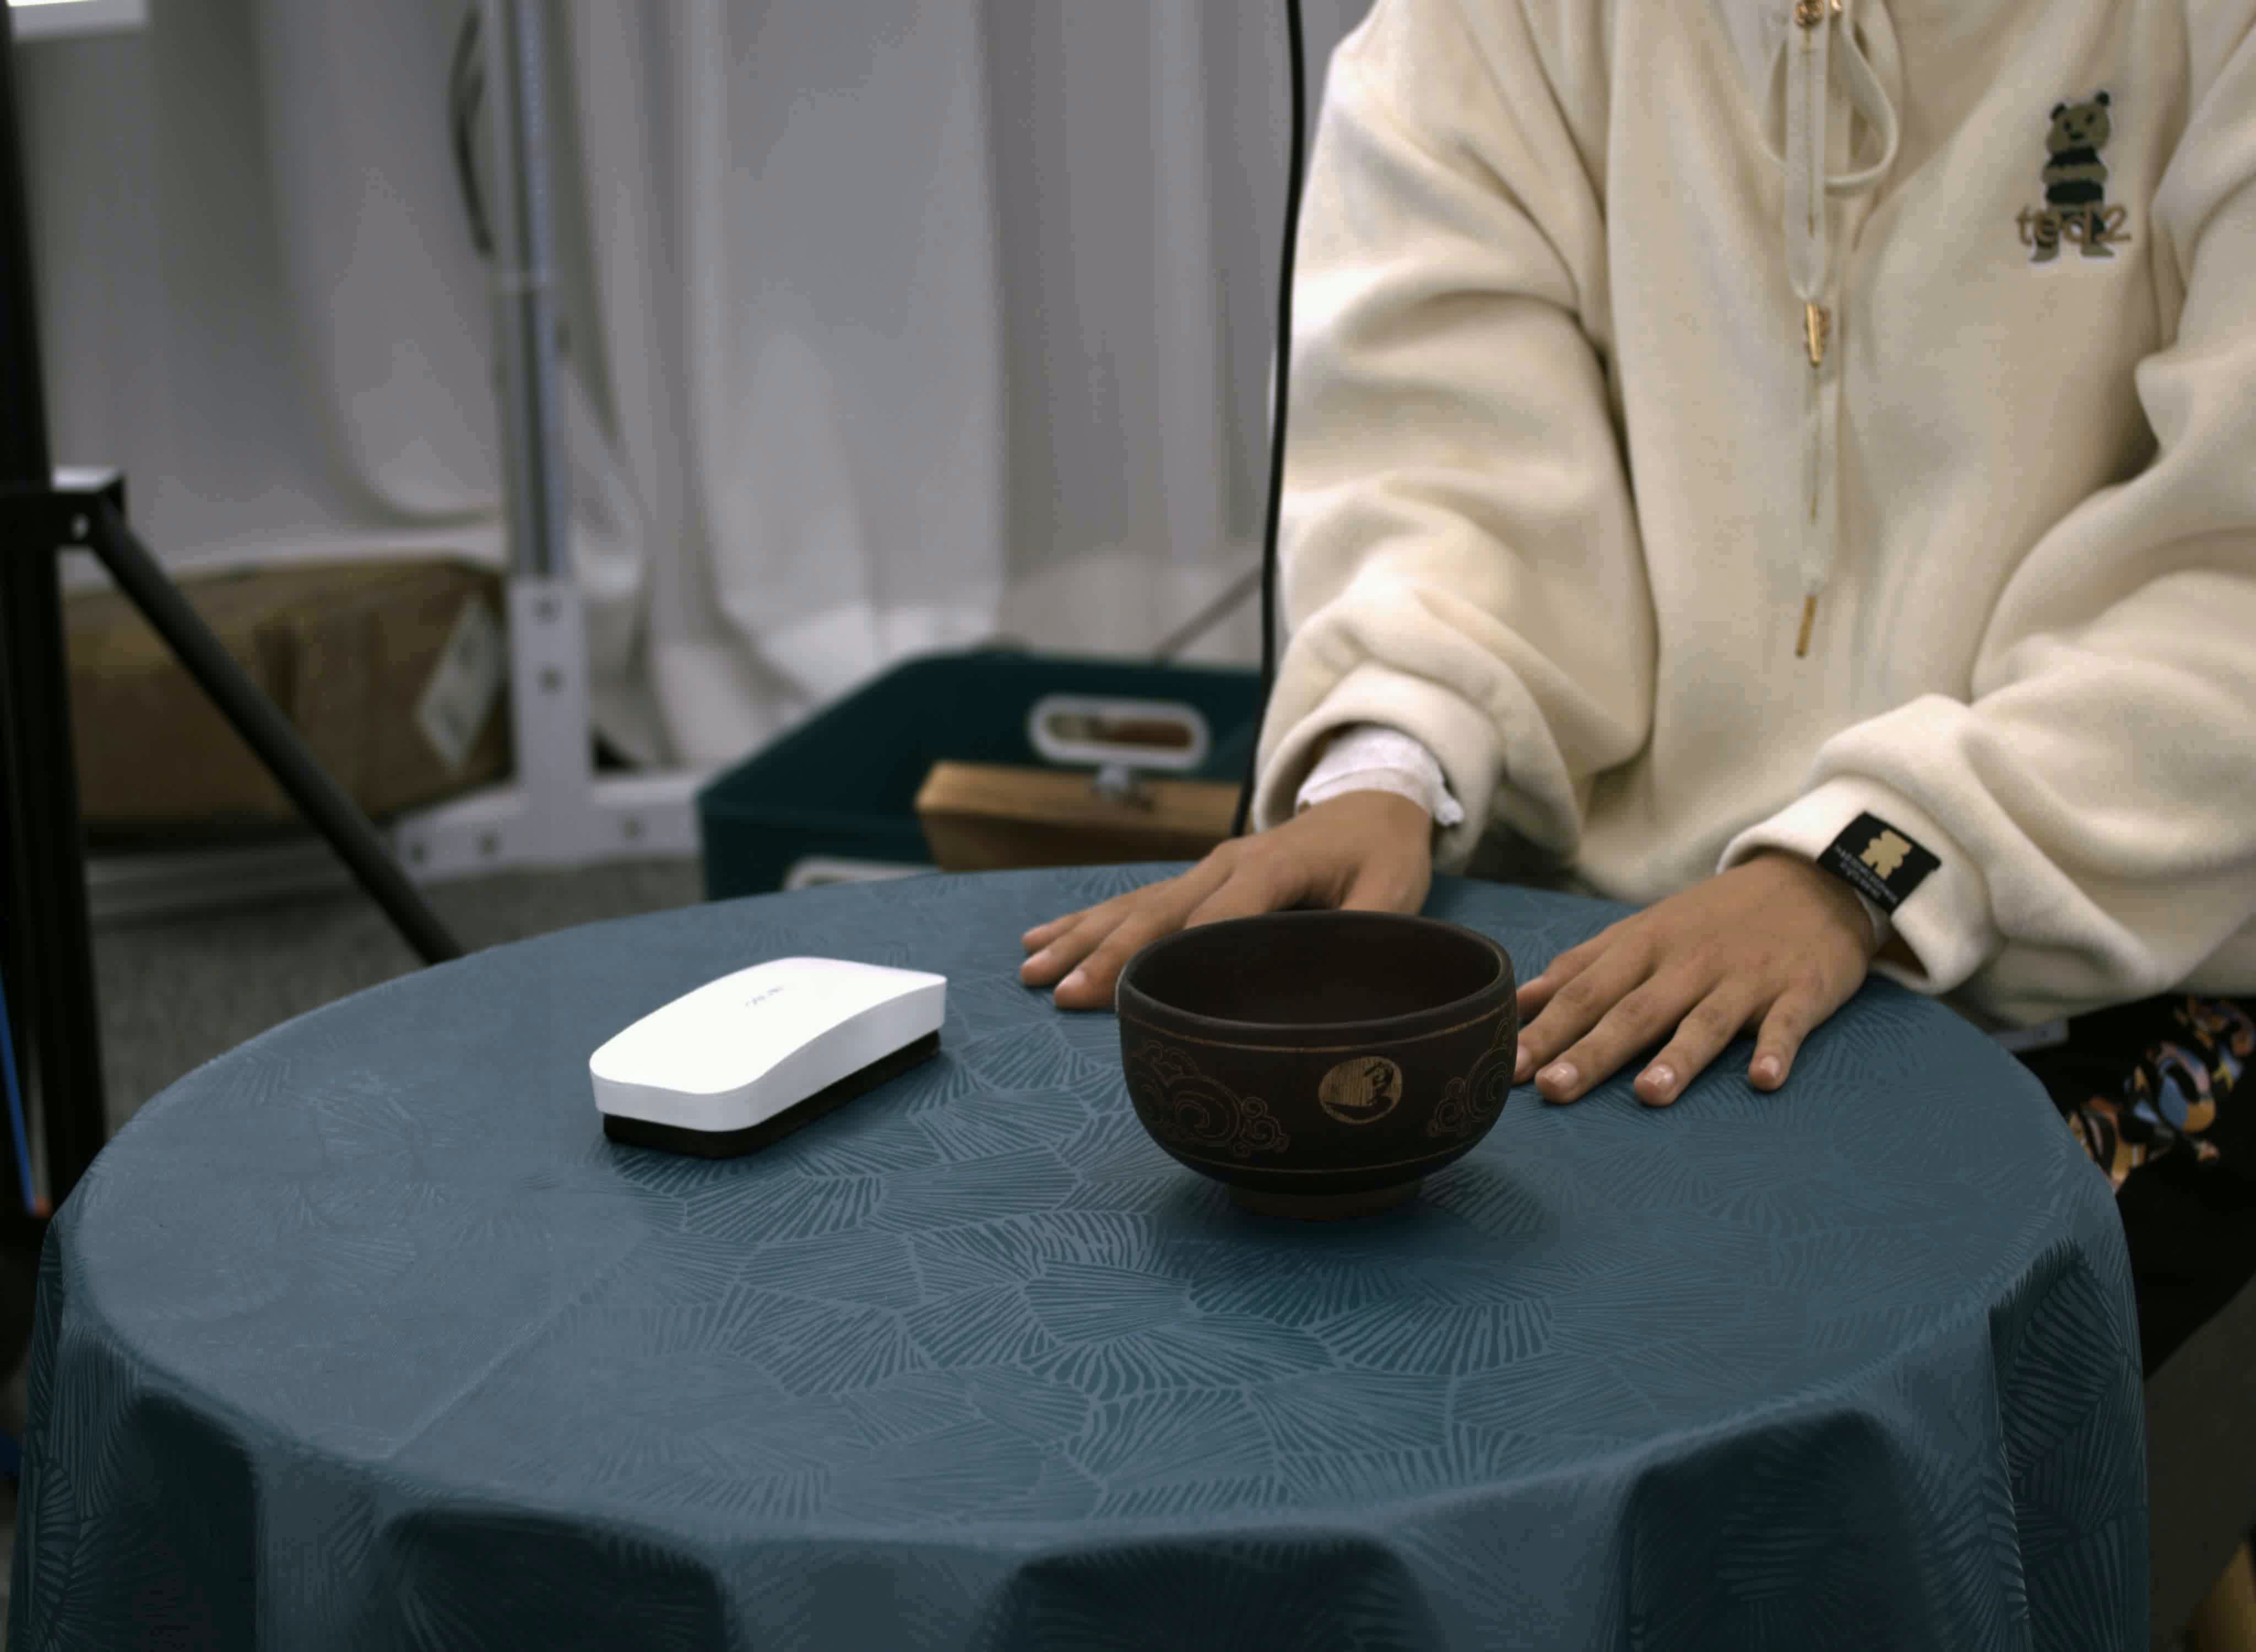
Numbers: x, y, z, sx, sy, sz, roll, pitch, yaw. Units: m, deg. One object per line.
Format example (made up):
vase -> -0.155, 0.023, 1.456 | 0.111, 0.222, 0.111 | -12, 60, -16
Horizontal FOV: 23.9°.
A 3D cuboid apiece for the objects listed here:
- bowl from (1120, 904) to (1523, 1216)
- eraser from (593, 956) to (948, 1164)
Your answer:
bowl -> 0.056, 0.072, 1.543 | 0.117, 0.070, 0.118 | -1, 16, -1
eraser -> -0.108, 0.069, 1.658 | 0.064, 0.034, 0.129 | 7, 19, 31
